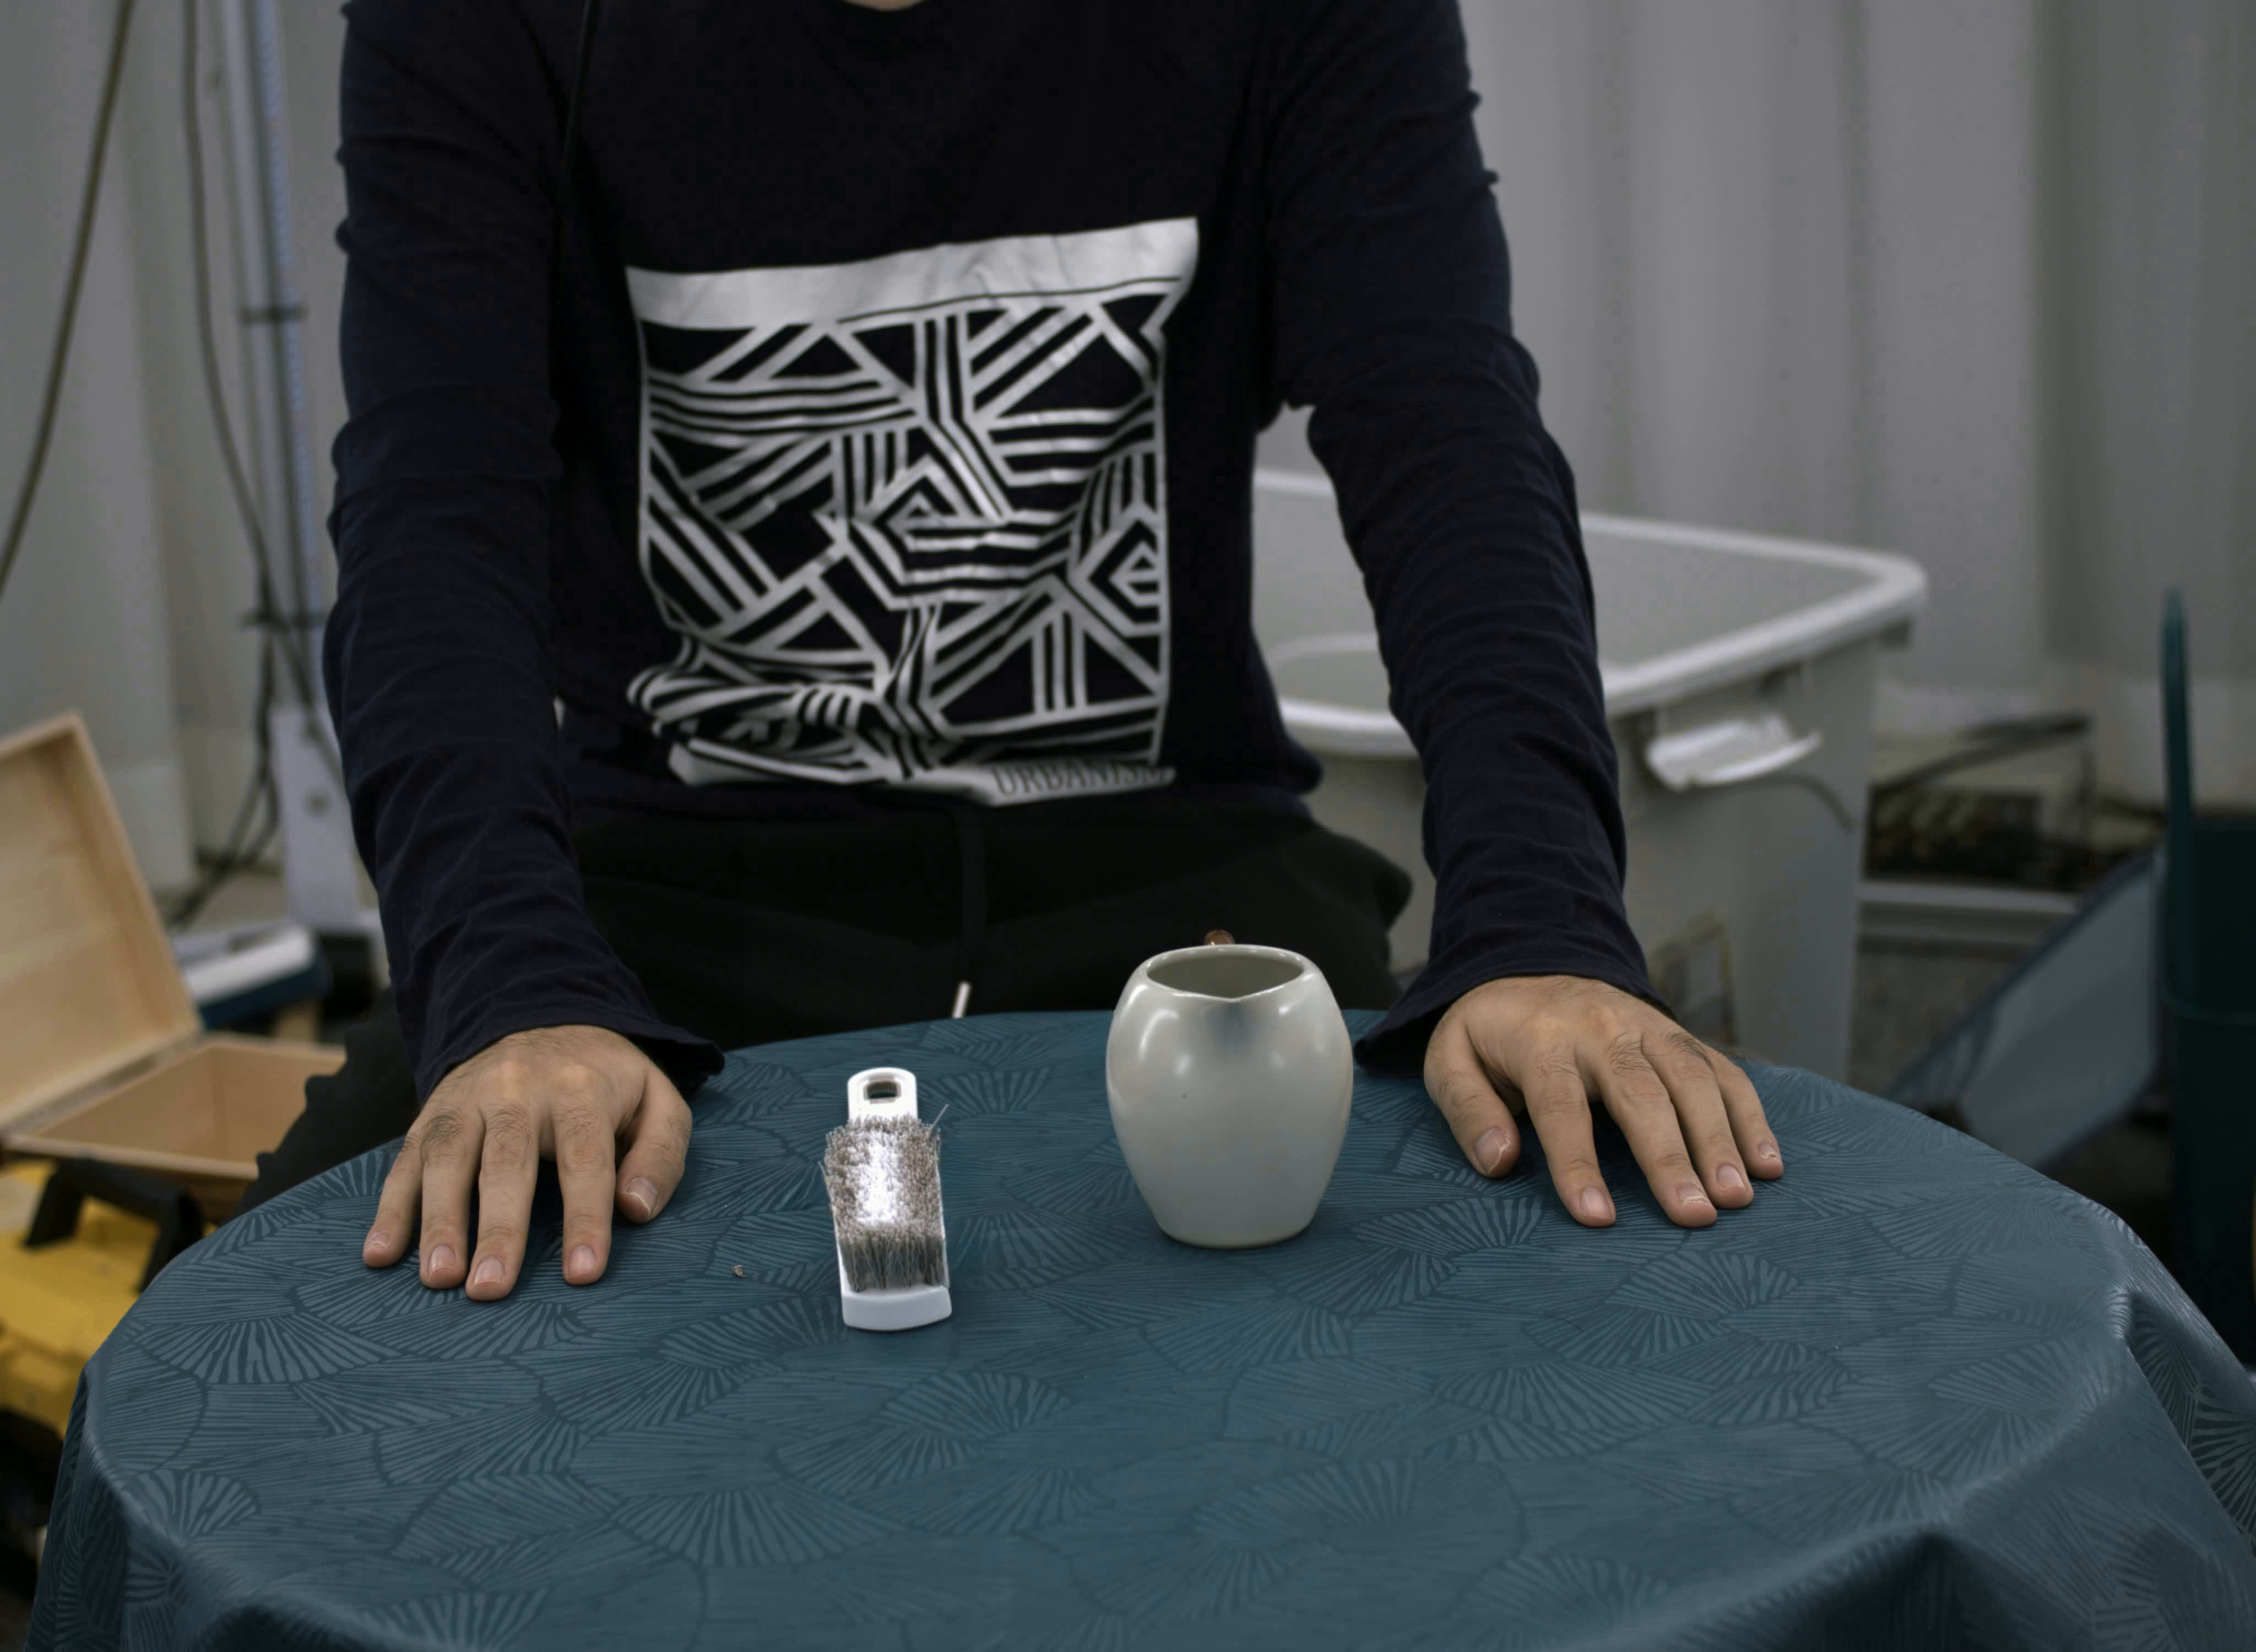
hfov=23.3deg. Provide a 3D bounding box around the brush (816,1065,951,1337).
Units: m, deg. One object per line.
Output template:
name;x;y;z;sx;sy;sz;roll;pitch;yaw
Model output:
brush;-0.073;0.097;1.704;0.034;0.050;0.245;-9;15;2

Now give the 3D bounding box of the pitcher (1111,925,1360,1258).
pitcher;0.032;0.080;1.666;0.075;0.087;0.120;2;17;0
